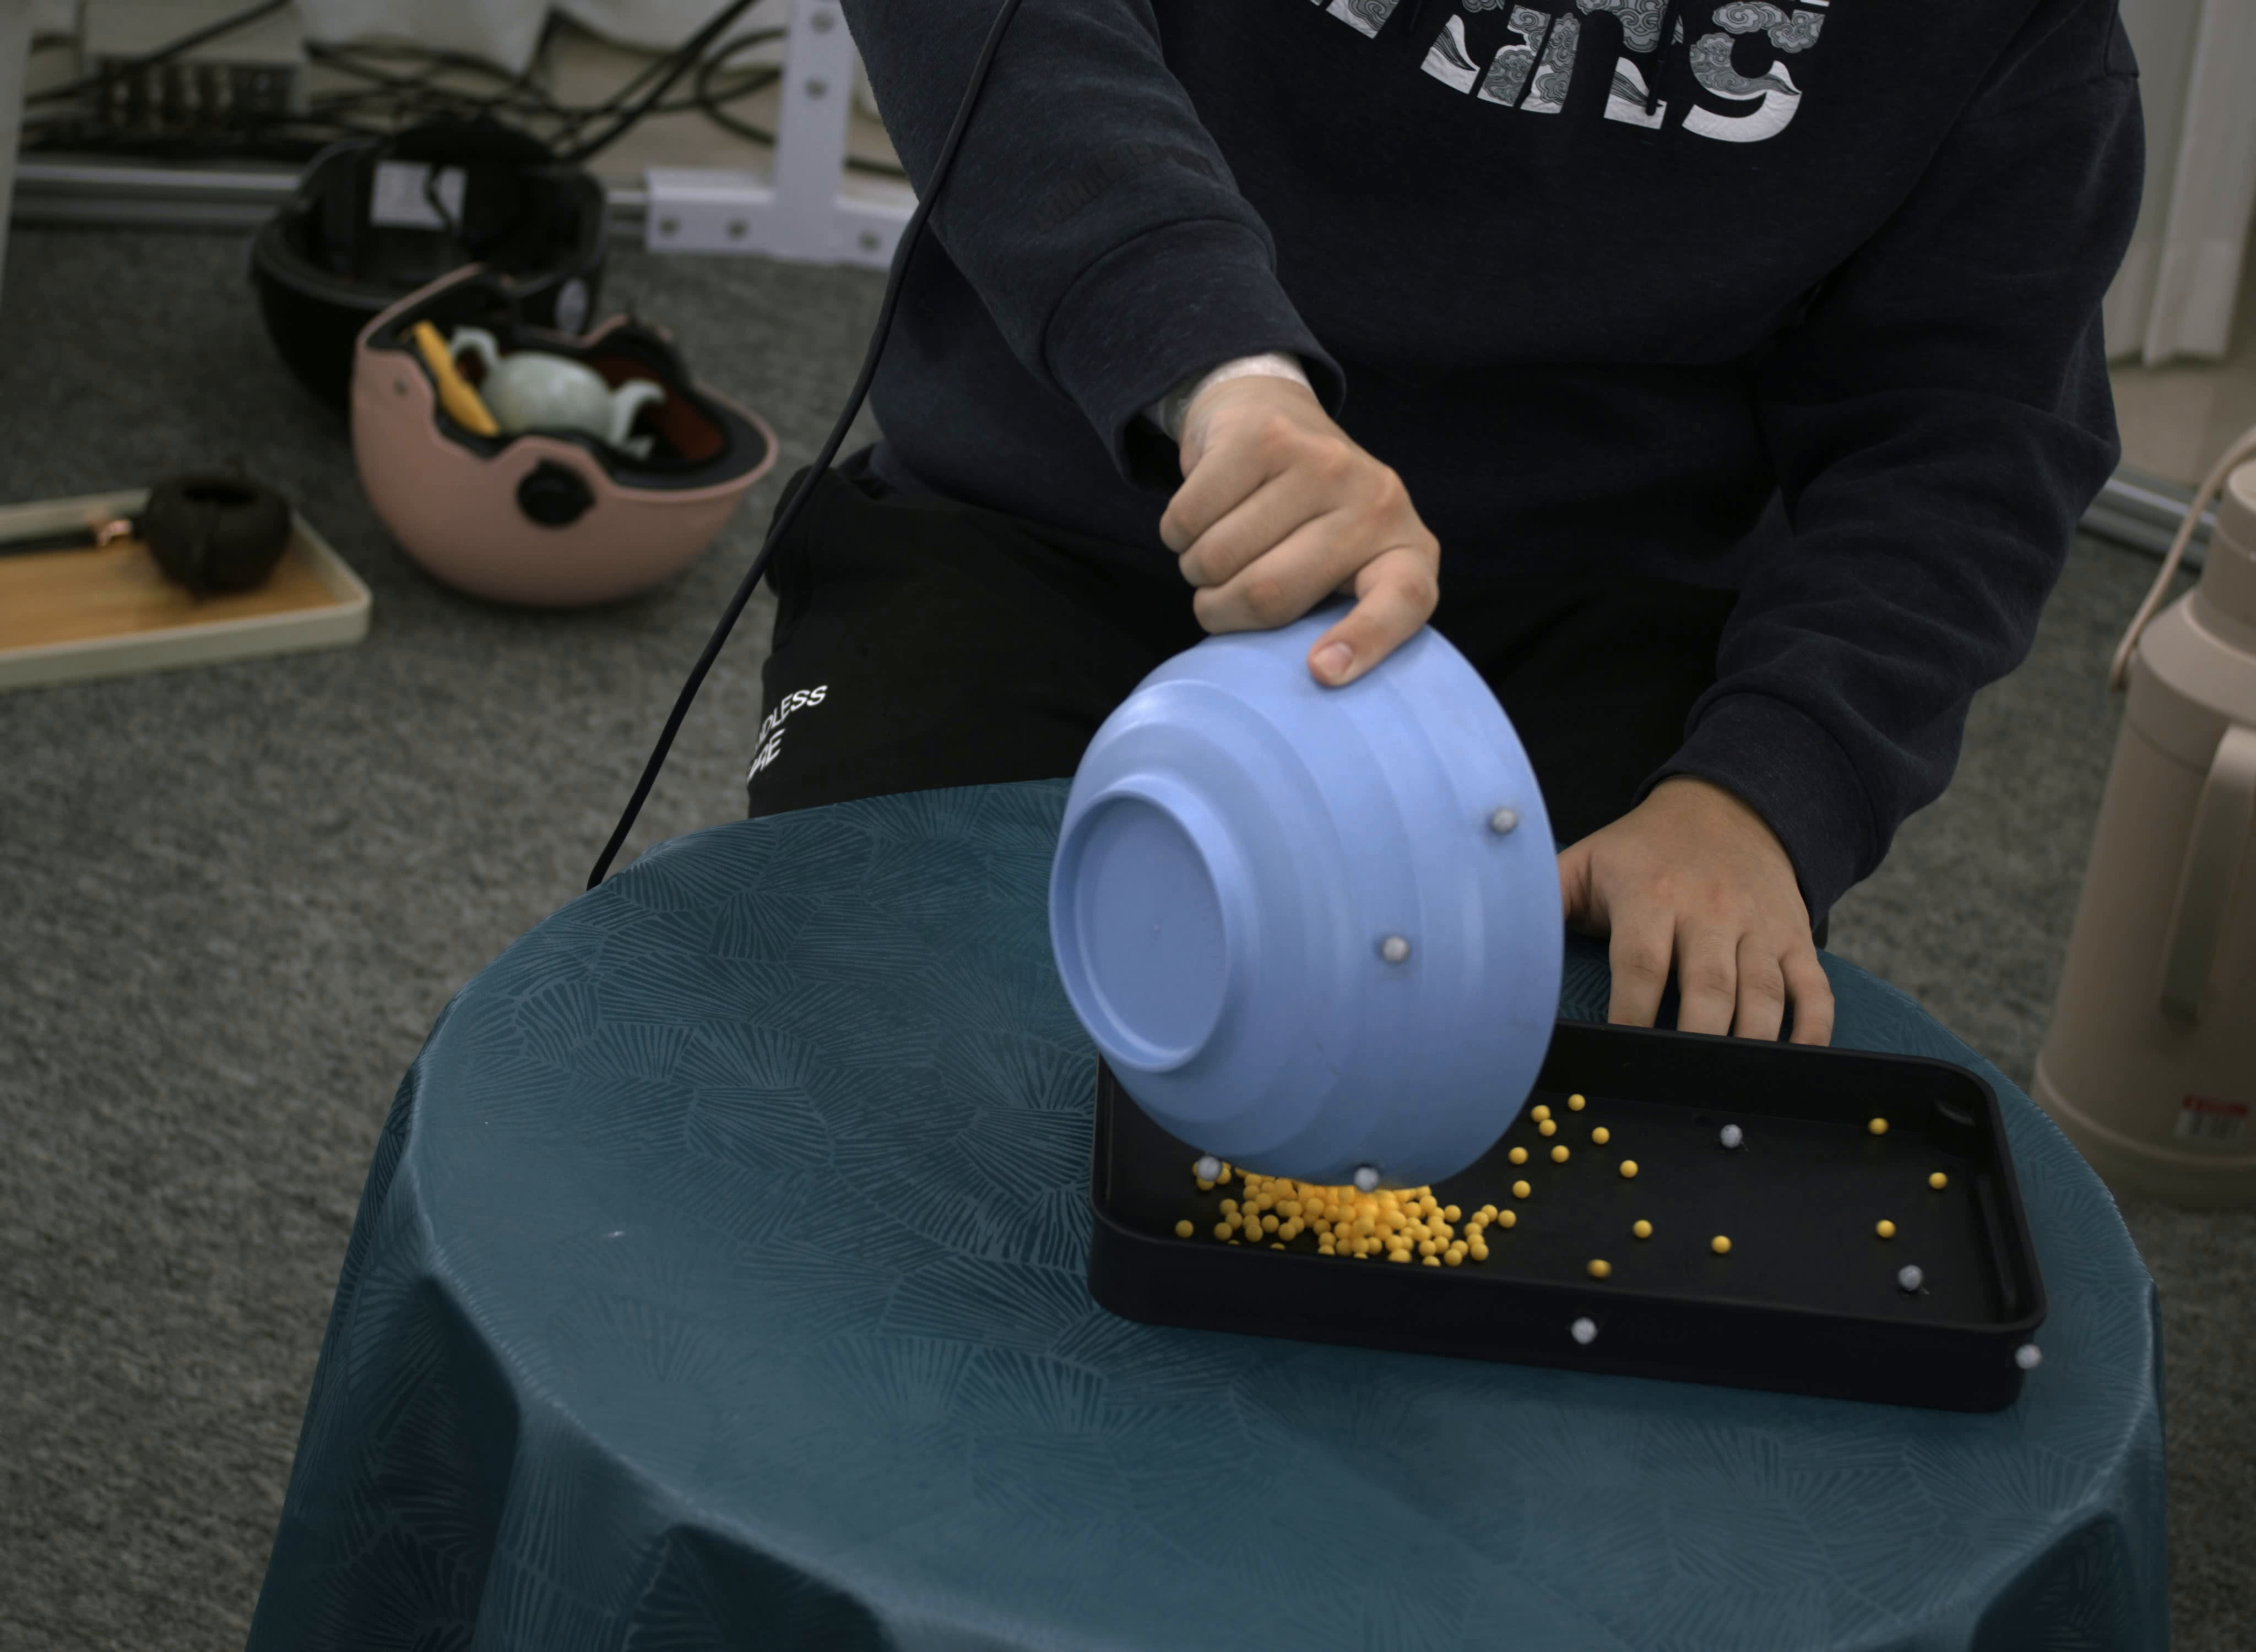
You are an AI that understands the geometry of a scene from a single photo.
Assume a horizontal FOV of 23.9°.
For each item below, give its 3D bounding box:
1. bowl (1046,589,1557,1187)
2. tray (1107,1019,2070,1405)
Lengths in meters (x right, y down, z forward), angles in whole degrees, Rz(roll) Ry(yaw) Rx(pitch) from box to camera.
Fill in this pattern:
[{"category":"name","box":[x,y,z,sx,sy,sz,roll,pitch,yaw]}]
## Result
[{"category":"bowl","box":[0.038,0.026,1.704,0.095,0.196,0.198,-9,31,-36]},{"category":"tray","box":[0.149,0.123,1.806,0.317,0.037,0.185,5,26,-2]}]
